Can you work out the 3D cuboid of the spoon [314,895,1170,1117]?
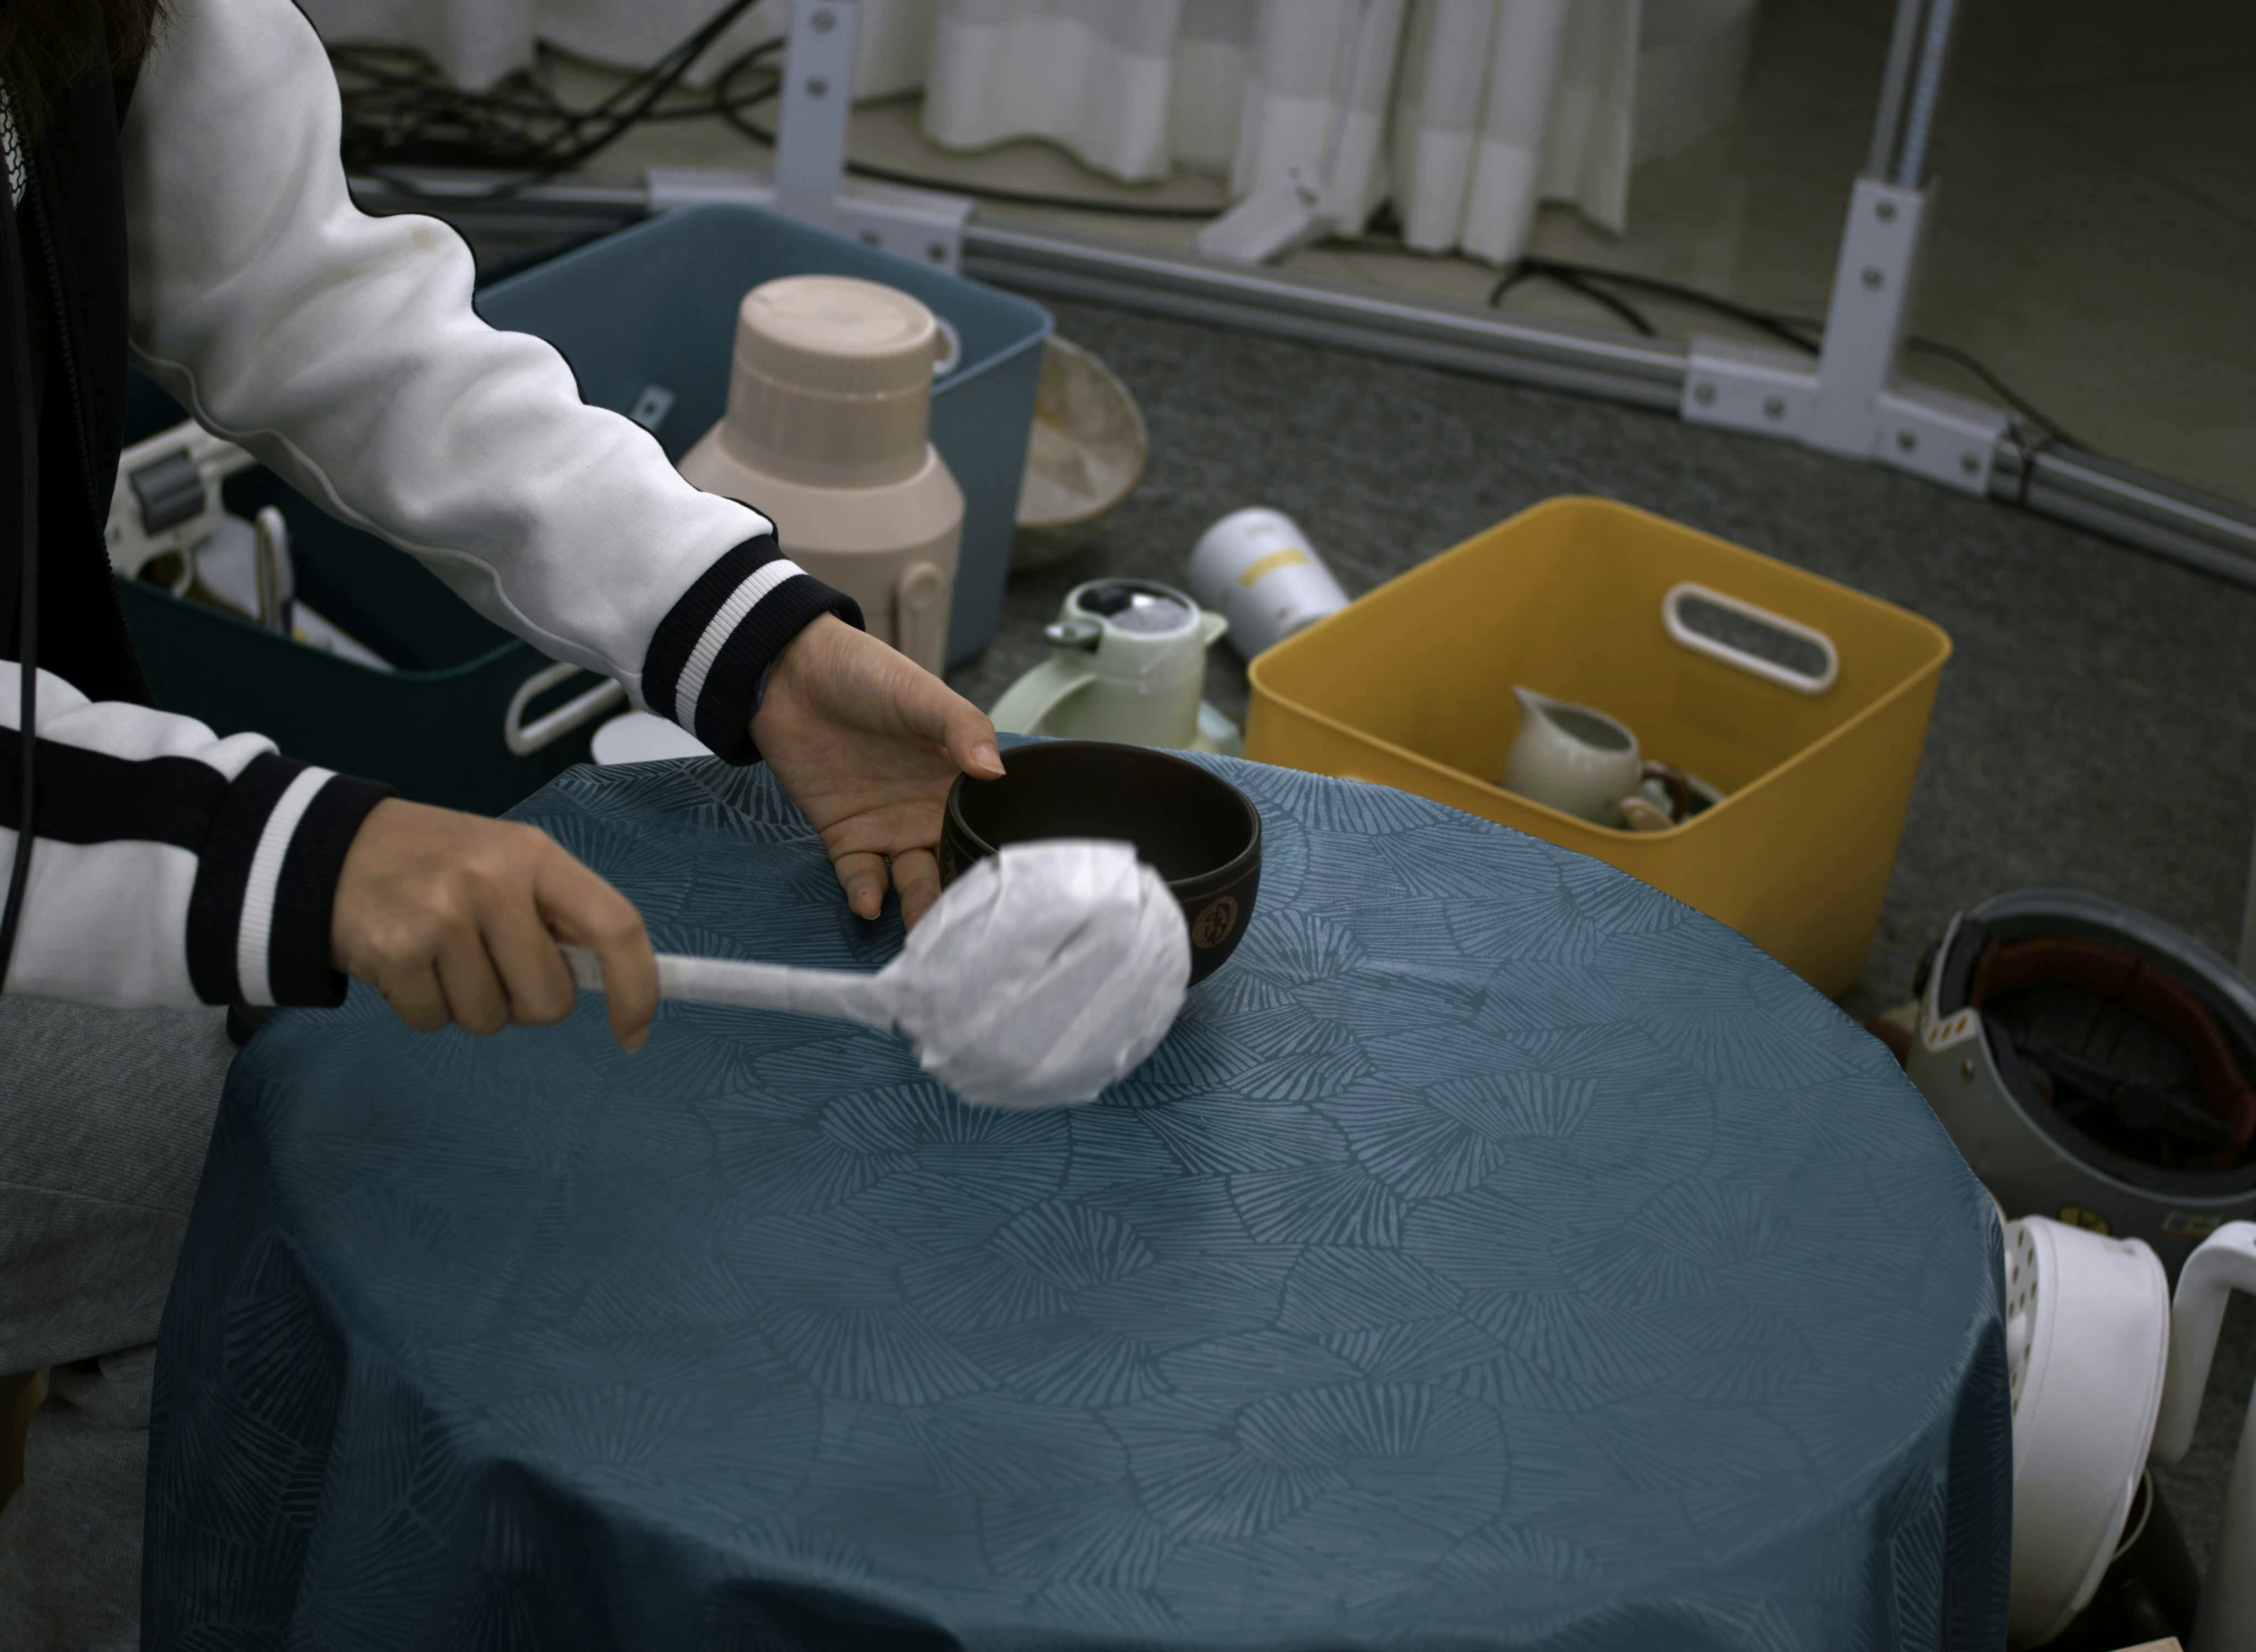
[{"bbox_3d":[-0.125,0.046,1.703,0.278,0.100,0.059,9,46,18],"label":"spoon"}]

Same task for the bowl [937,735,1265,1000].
[{"bbox_3d":[-0.012,0.023,1.915,0.117,0.069,0.119,5,26,-3],"label":"bowl"}]
